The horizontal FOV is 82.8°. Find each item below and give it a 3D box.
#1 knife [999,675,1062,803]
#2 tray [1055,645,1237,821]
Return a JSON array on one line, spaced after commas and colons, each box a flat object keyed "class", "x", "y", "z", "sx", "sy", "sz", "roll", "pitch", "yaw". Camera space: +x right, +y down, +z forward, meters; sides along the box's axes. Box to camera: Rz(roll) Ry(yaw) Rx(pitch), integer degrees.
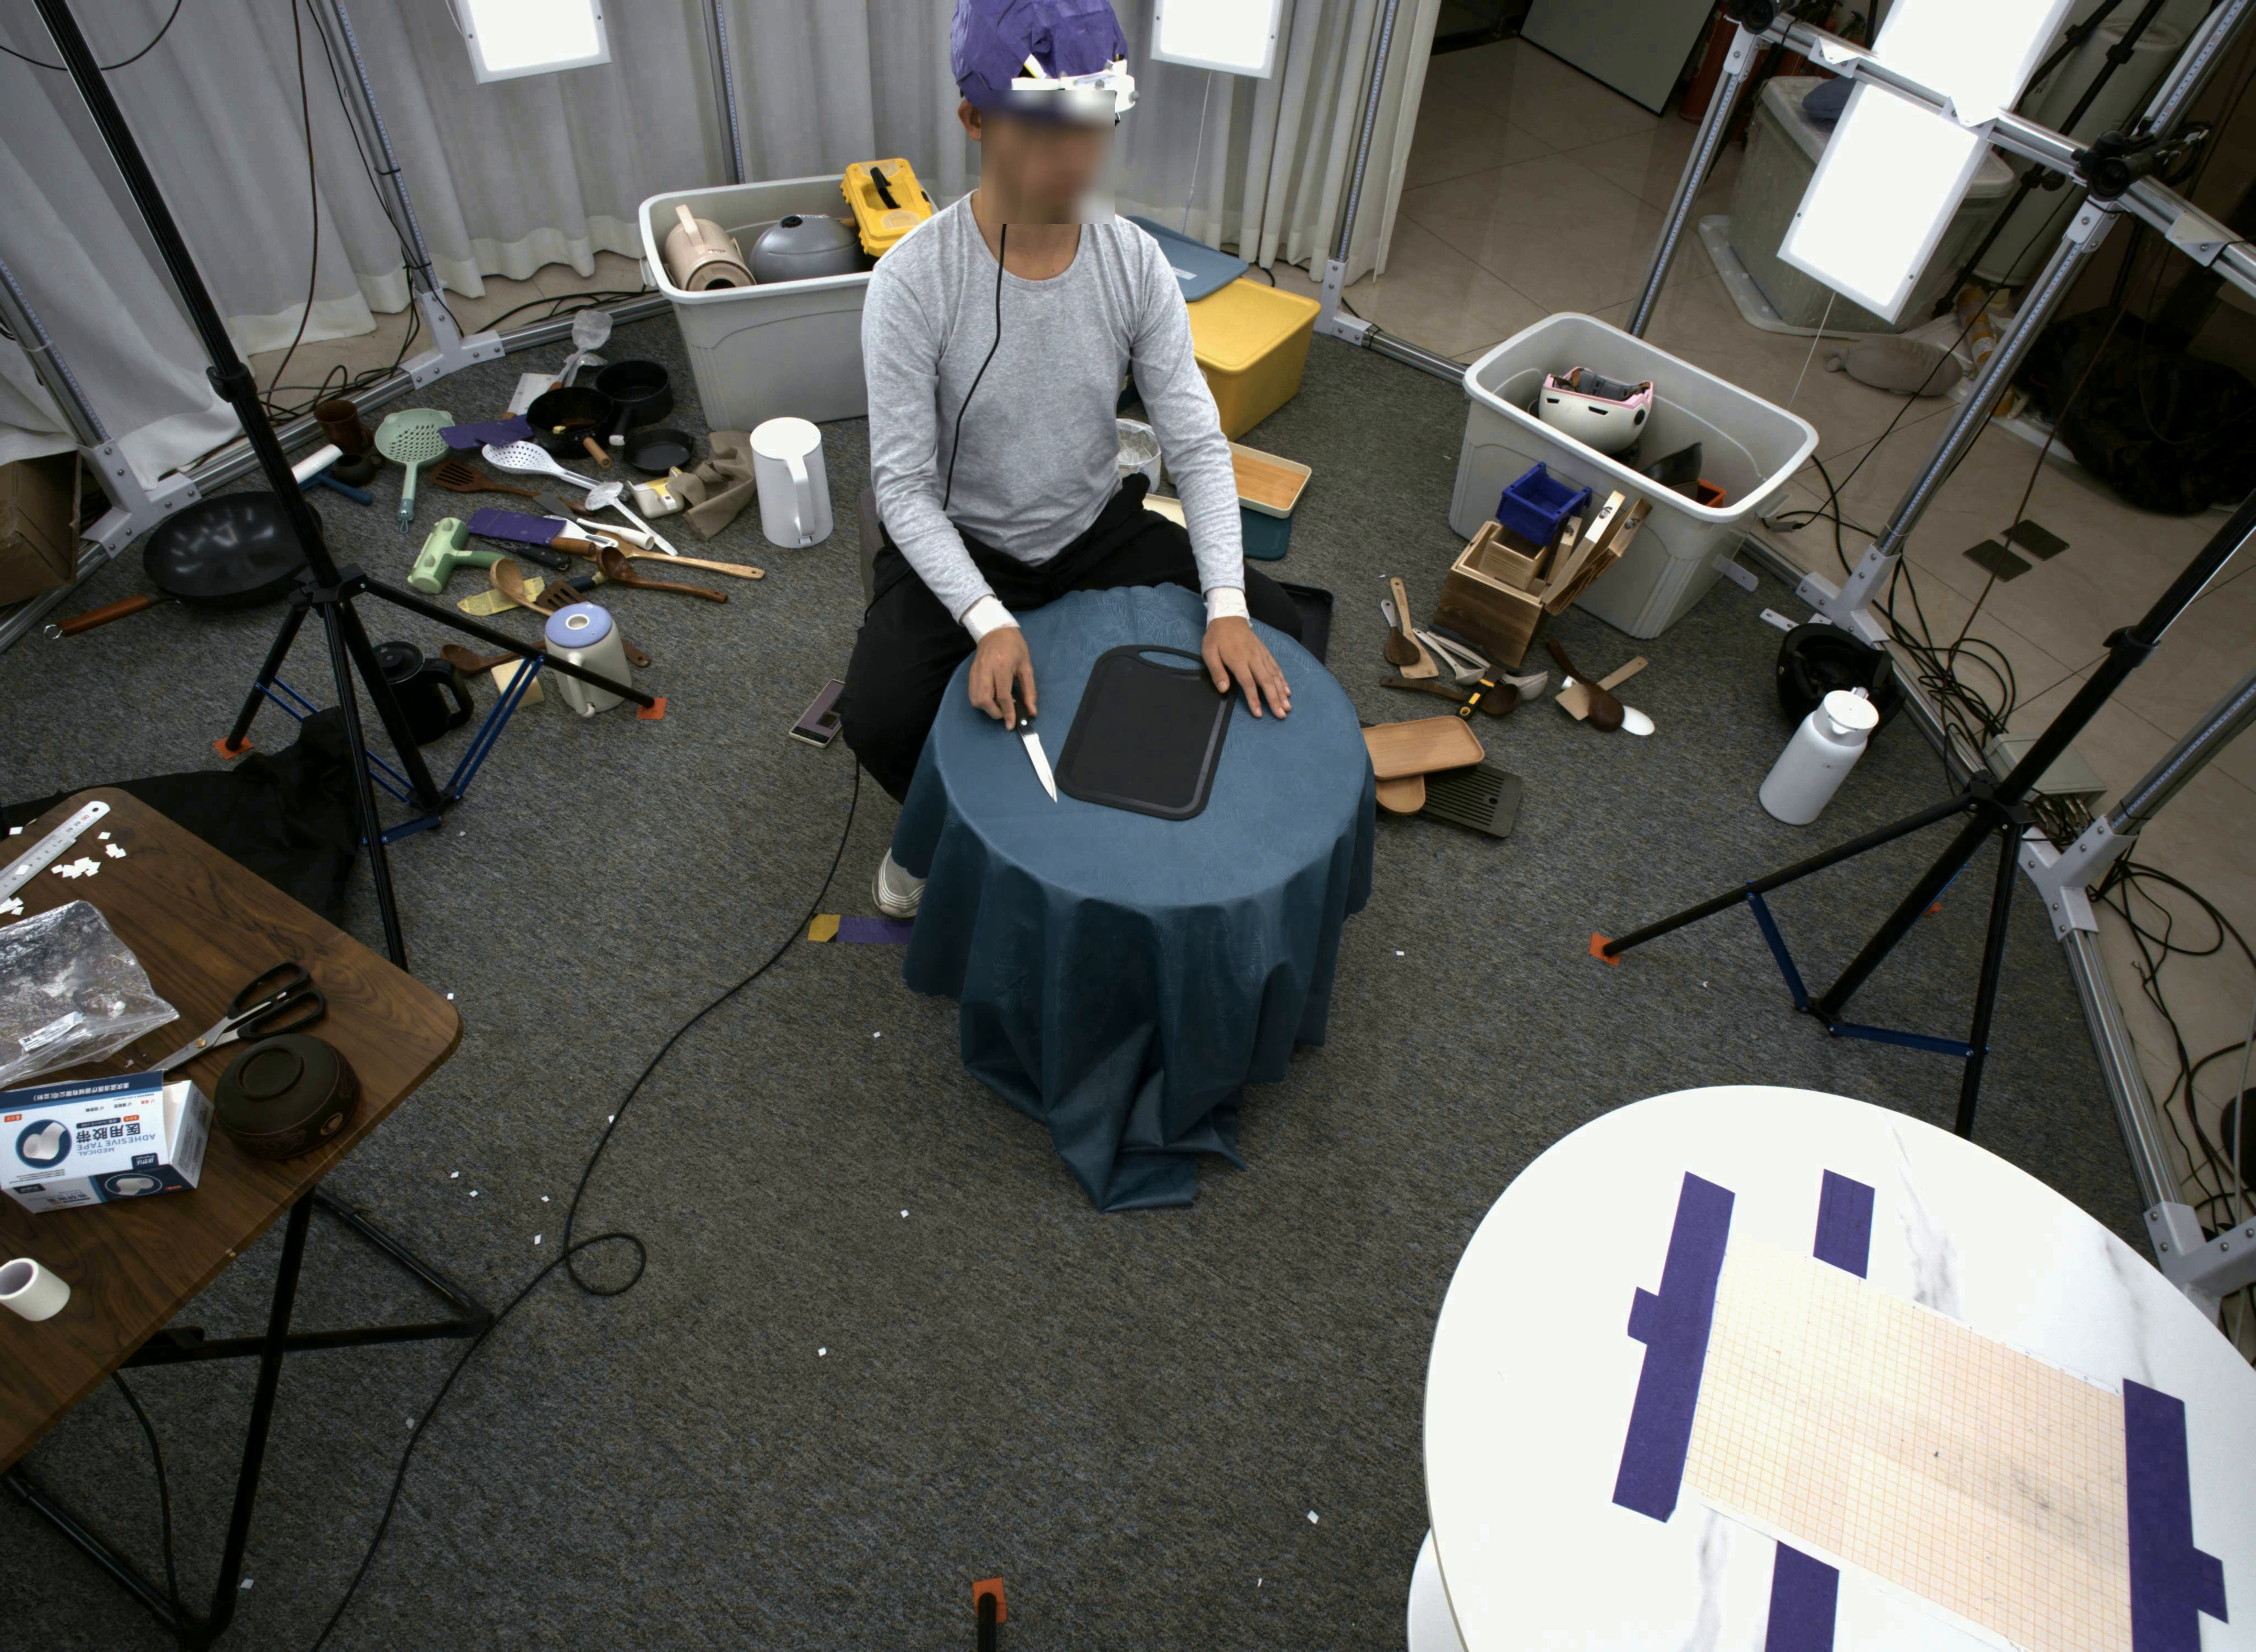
[{"class": "knife", "x": -0.134, "y": -0.120, "z": 1.755, "sx": 0.024, "sy": 0.016, "sz": 0.243, "roll": -11, "pitch": 53, "yaw": -20}, {"class": "tray", "x": 0.031, "y": -0.143, "z": 1.790, "sx": 0.211, "sy": 0.009, "sz": 0.332, "roll": 13, "pitch": 49, "yaw": 7}]
